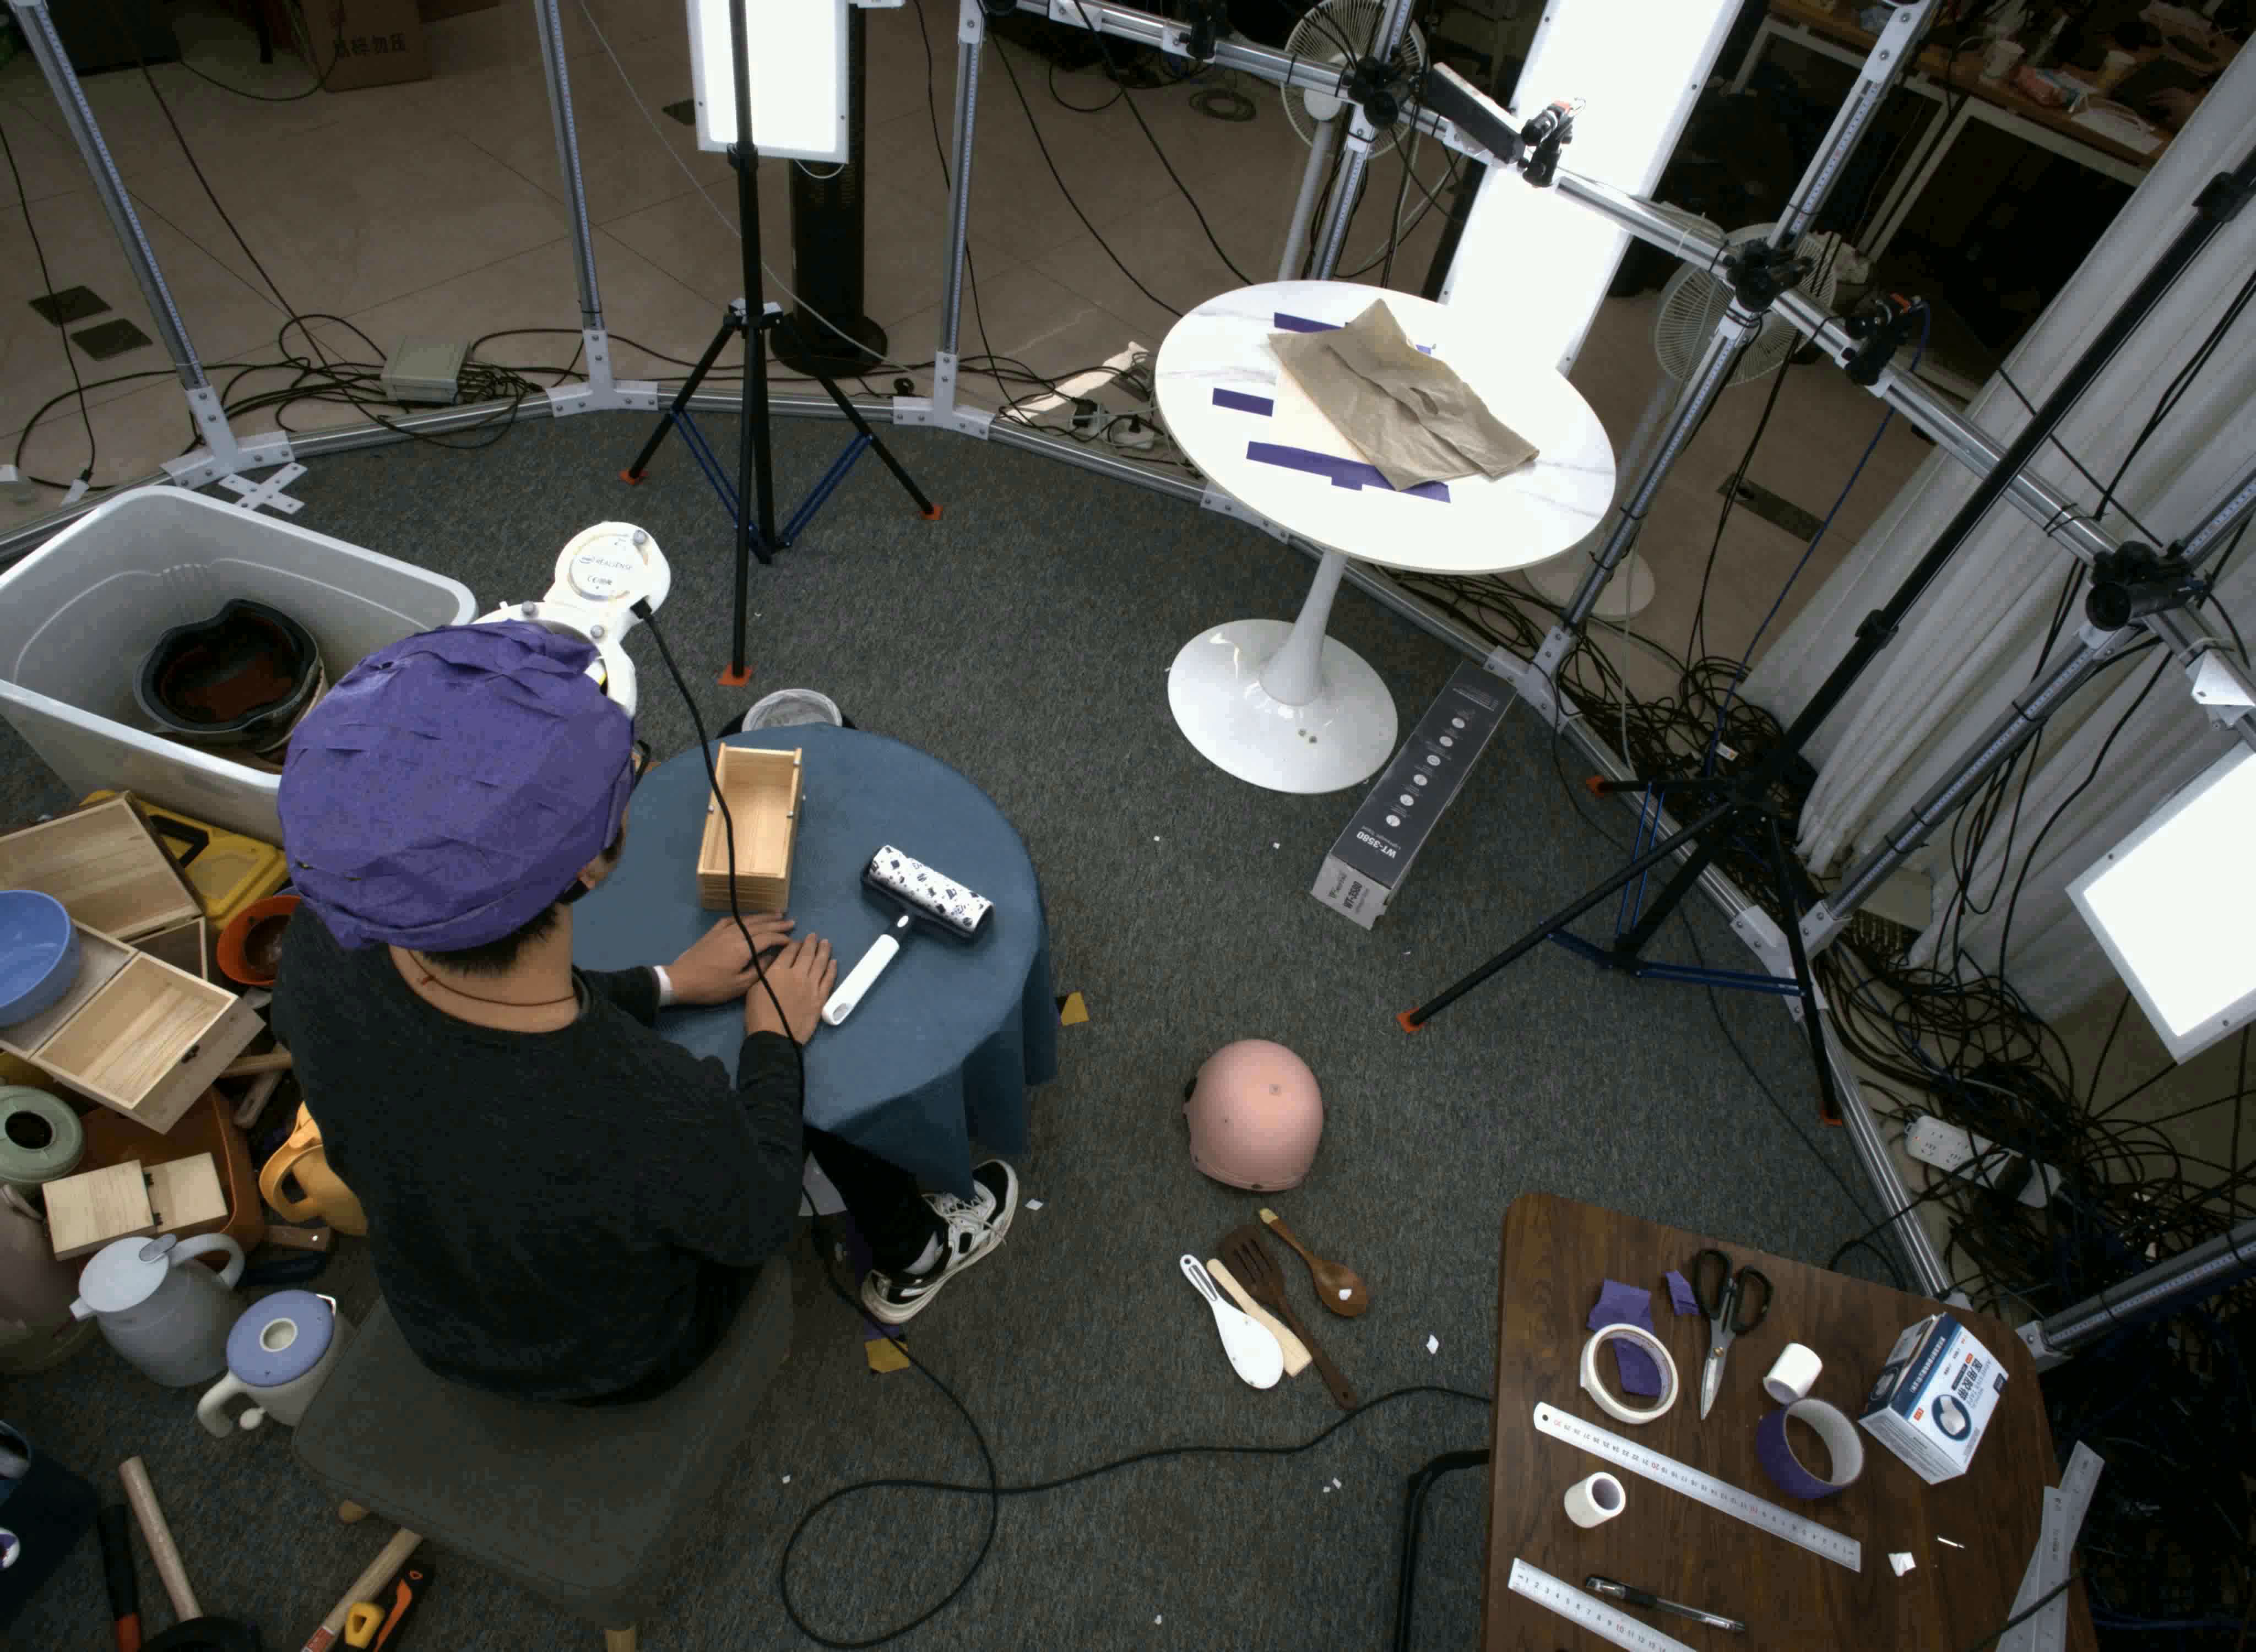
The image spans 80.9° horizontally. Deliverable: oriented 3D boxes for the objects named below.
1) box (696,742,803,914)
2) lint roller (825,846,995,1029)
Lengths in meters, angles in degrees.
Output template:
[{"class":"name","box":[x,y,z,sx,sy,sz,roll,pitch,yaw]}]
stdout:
[{"class":"box","box":[-0.480,0.000,1.653,0.107,0.082,0.207,3,53,-11]},{"class":"lint roller","box":[-0.297,0.147,1.614,0.174,0.051,0.246,28,53,6]}]
